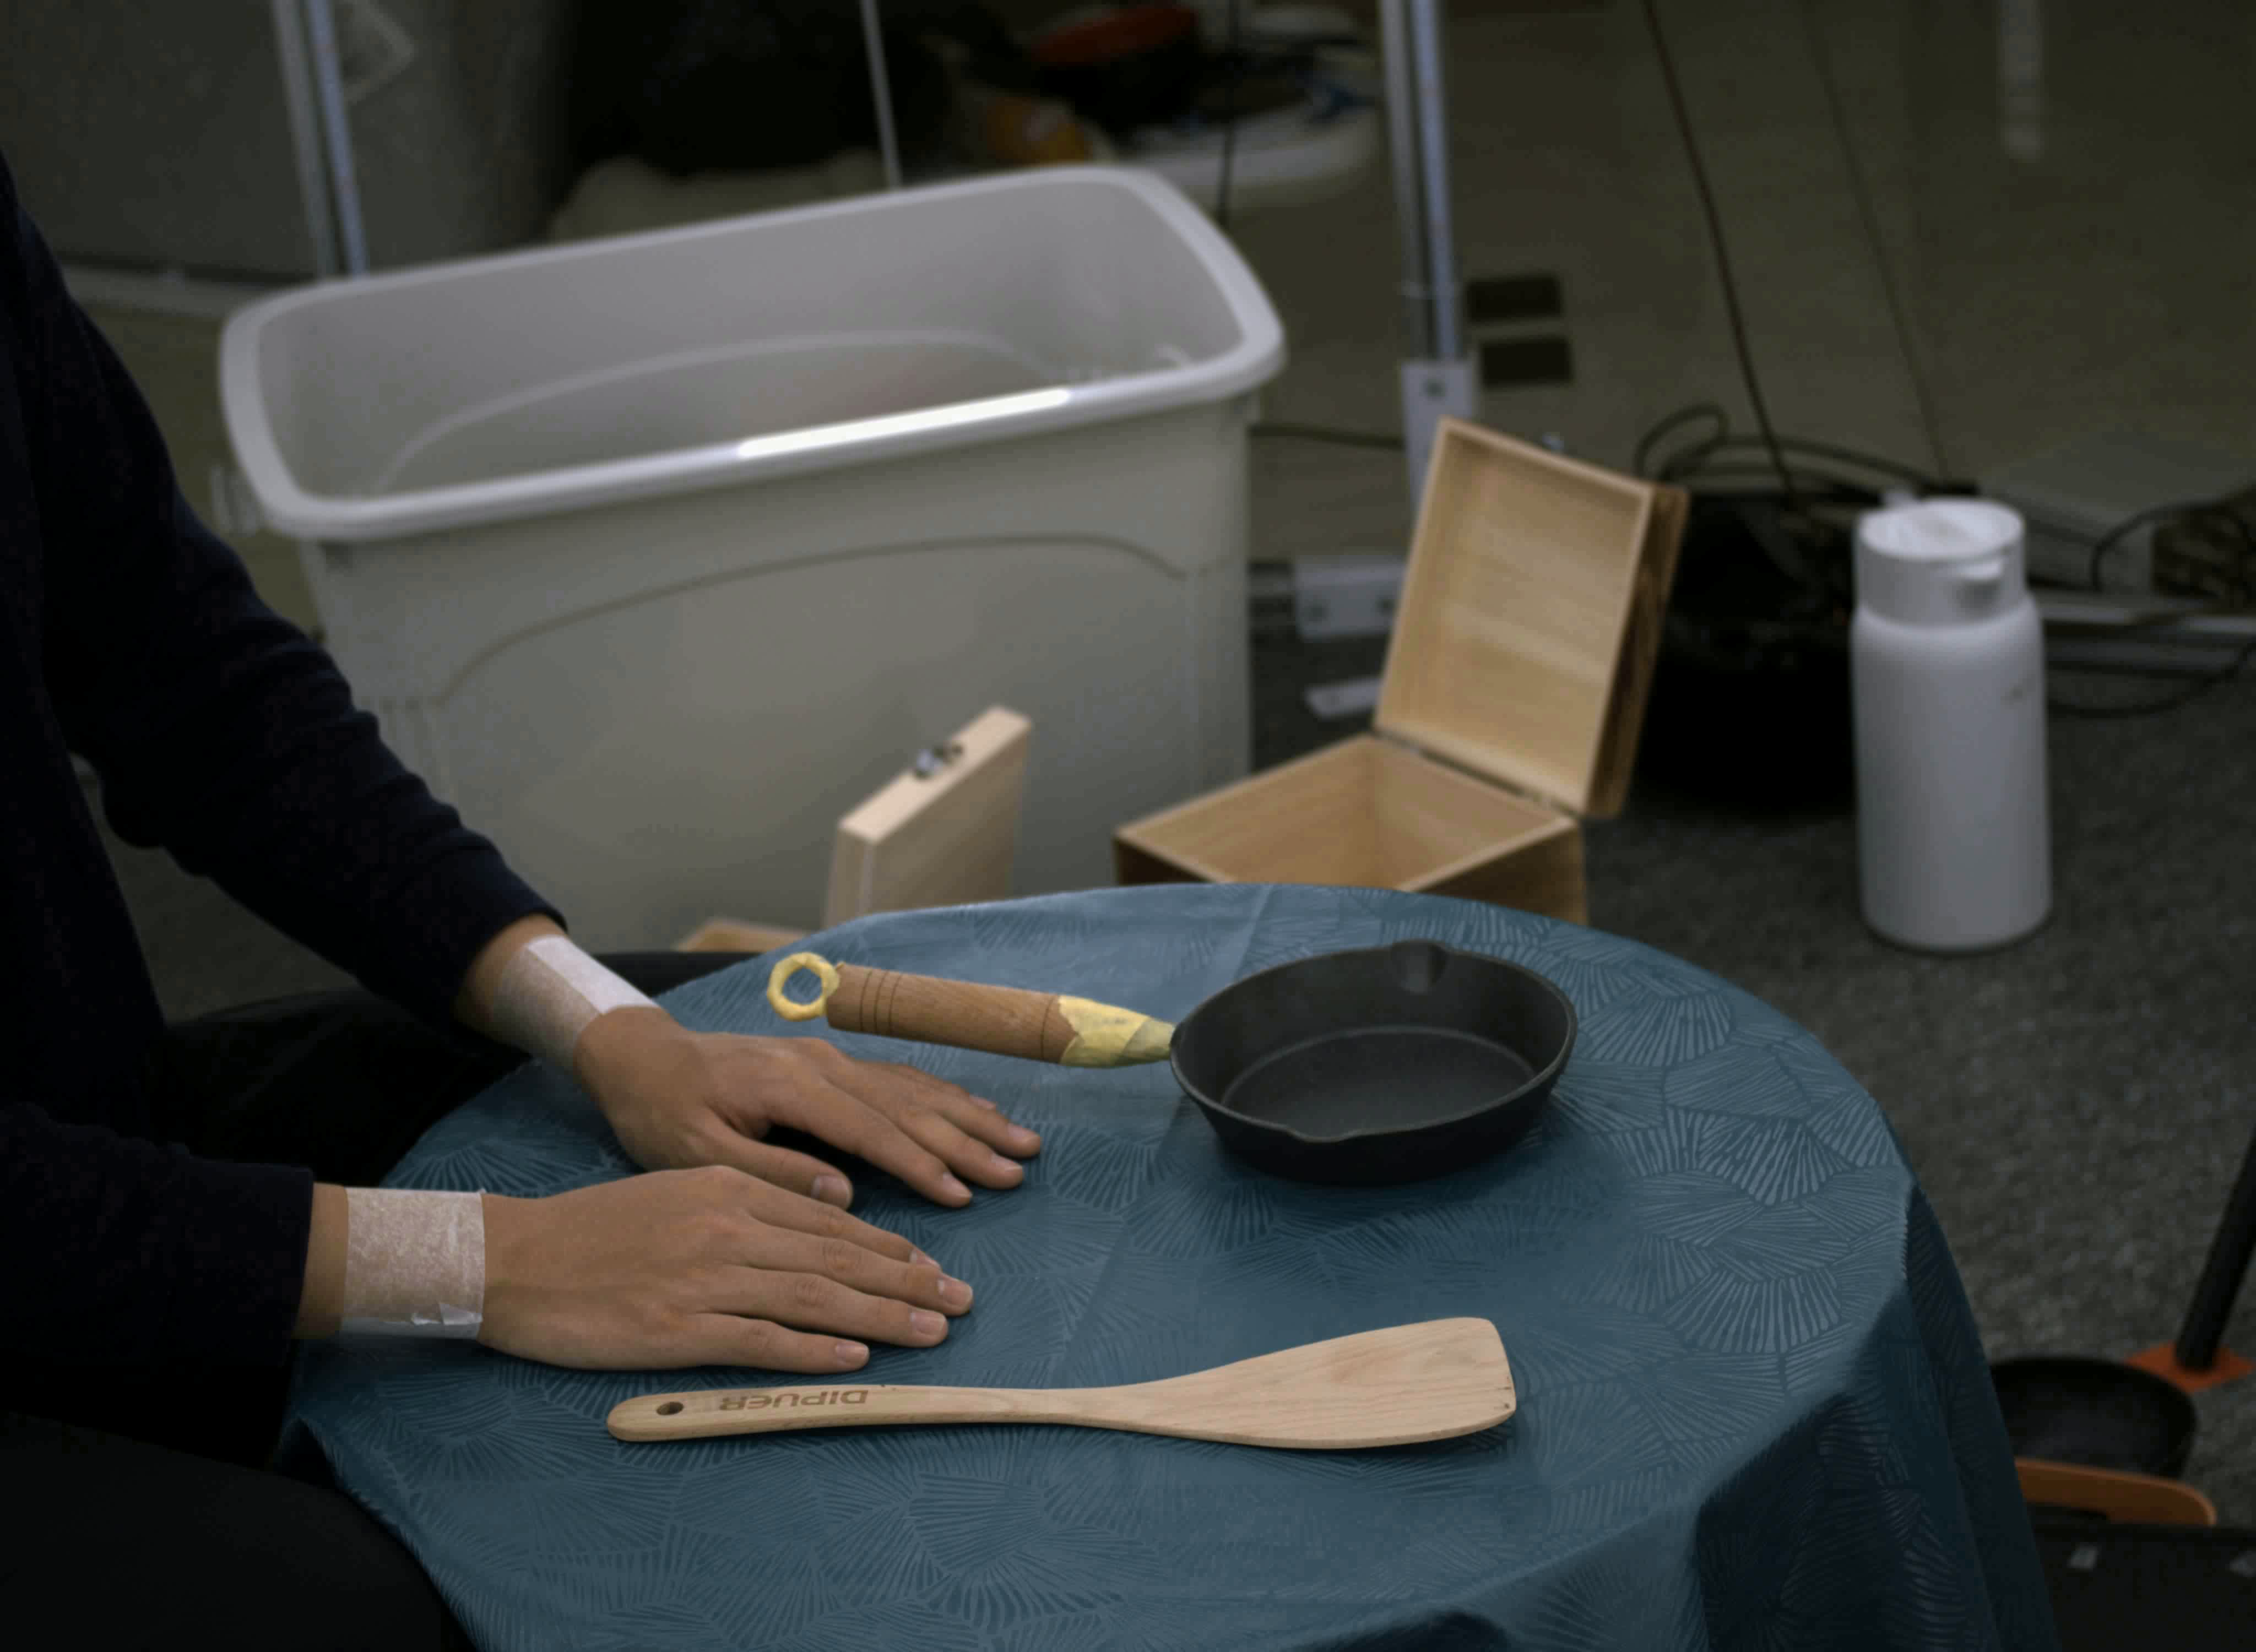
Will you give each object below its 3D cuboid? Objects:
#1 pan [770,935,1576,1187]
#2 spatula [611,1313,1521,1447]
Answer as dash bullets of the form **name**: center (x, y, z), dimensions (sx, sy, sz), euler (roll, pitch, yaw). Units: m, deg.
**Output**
- **pan**: center (0.015, 0.083, 2.202), dimensions (0.323, 0.050, 0.166), euler (4, 27, 18)
- **spatula**: center (-0.023, 0.200, 2.003), dimensions (0.327, 0.017, 0.079), euler (-3, 24, 8)
